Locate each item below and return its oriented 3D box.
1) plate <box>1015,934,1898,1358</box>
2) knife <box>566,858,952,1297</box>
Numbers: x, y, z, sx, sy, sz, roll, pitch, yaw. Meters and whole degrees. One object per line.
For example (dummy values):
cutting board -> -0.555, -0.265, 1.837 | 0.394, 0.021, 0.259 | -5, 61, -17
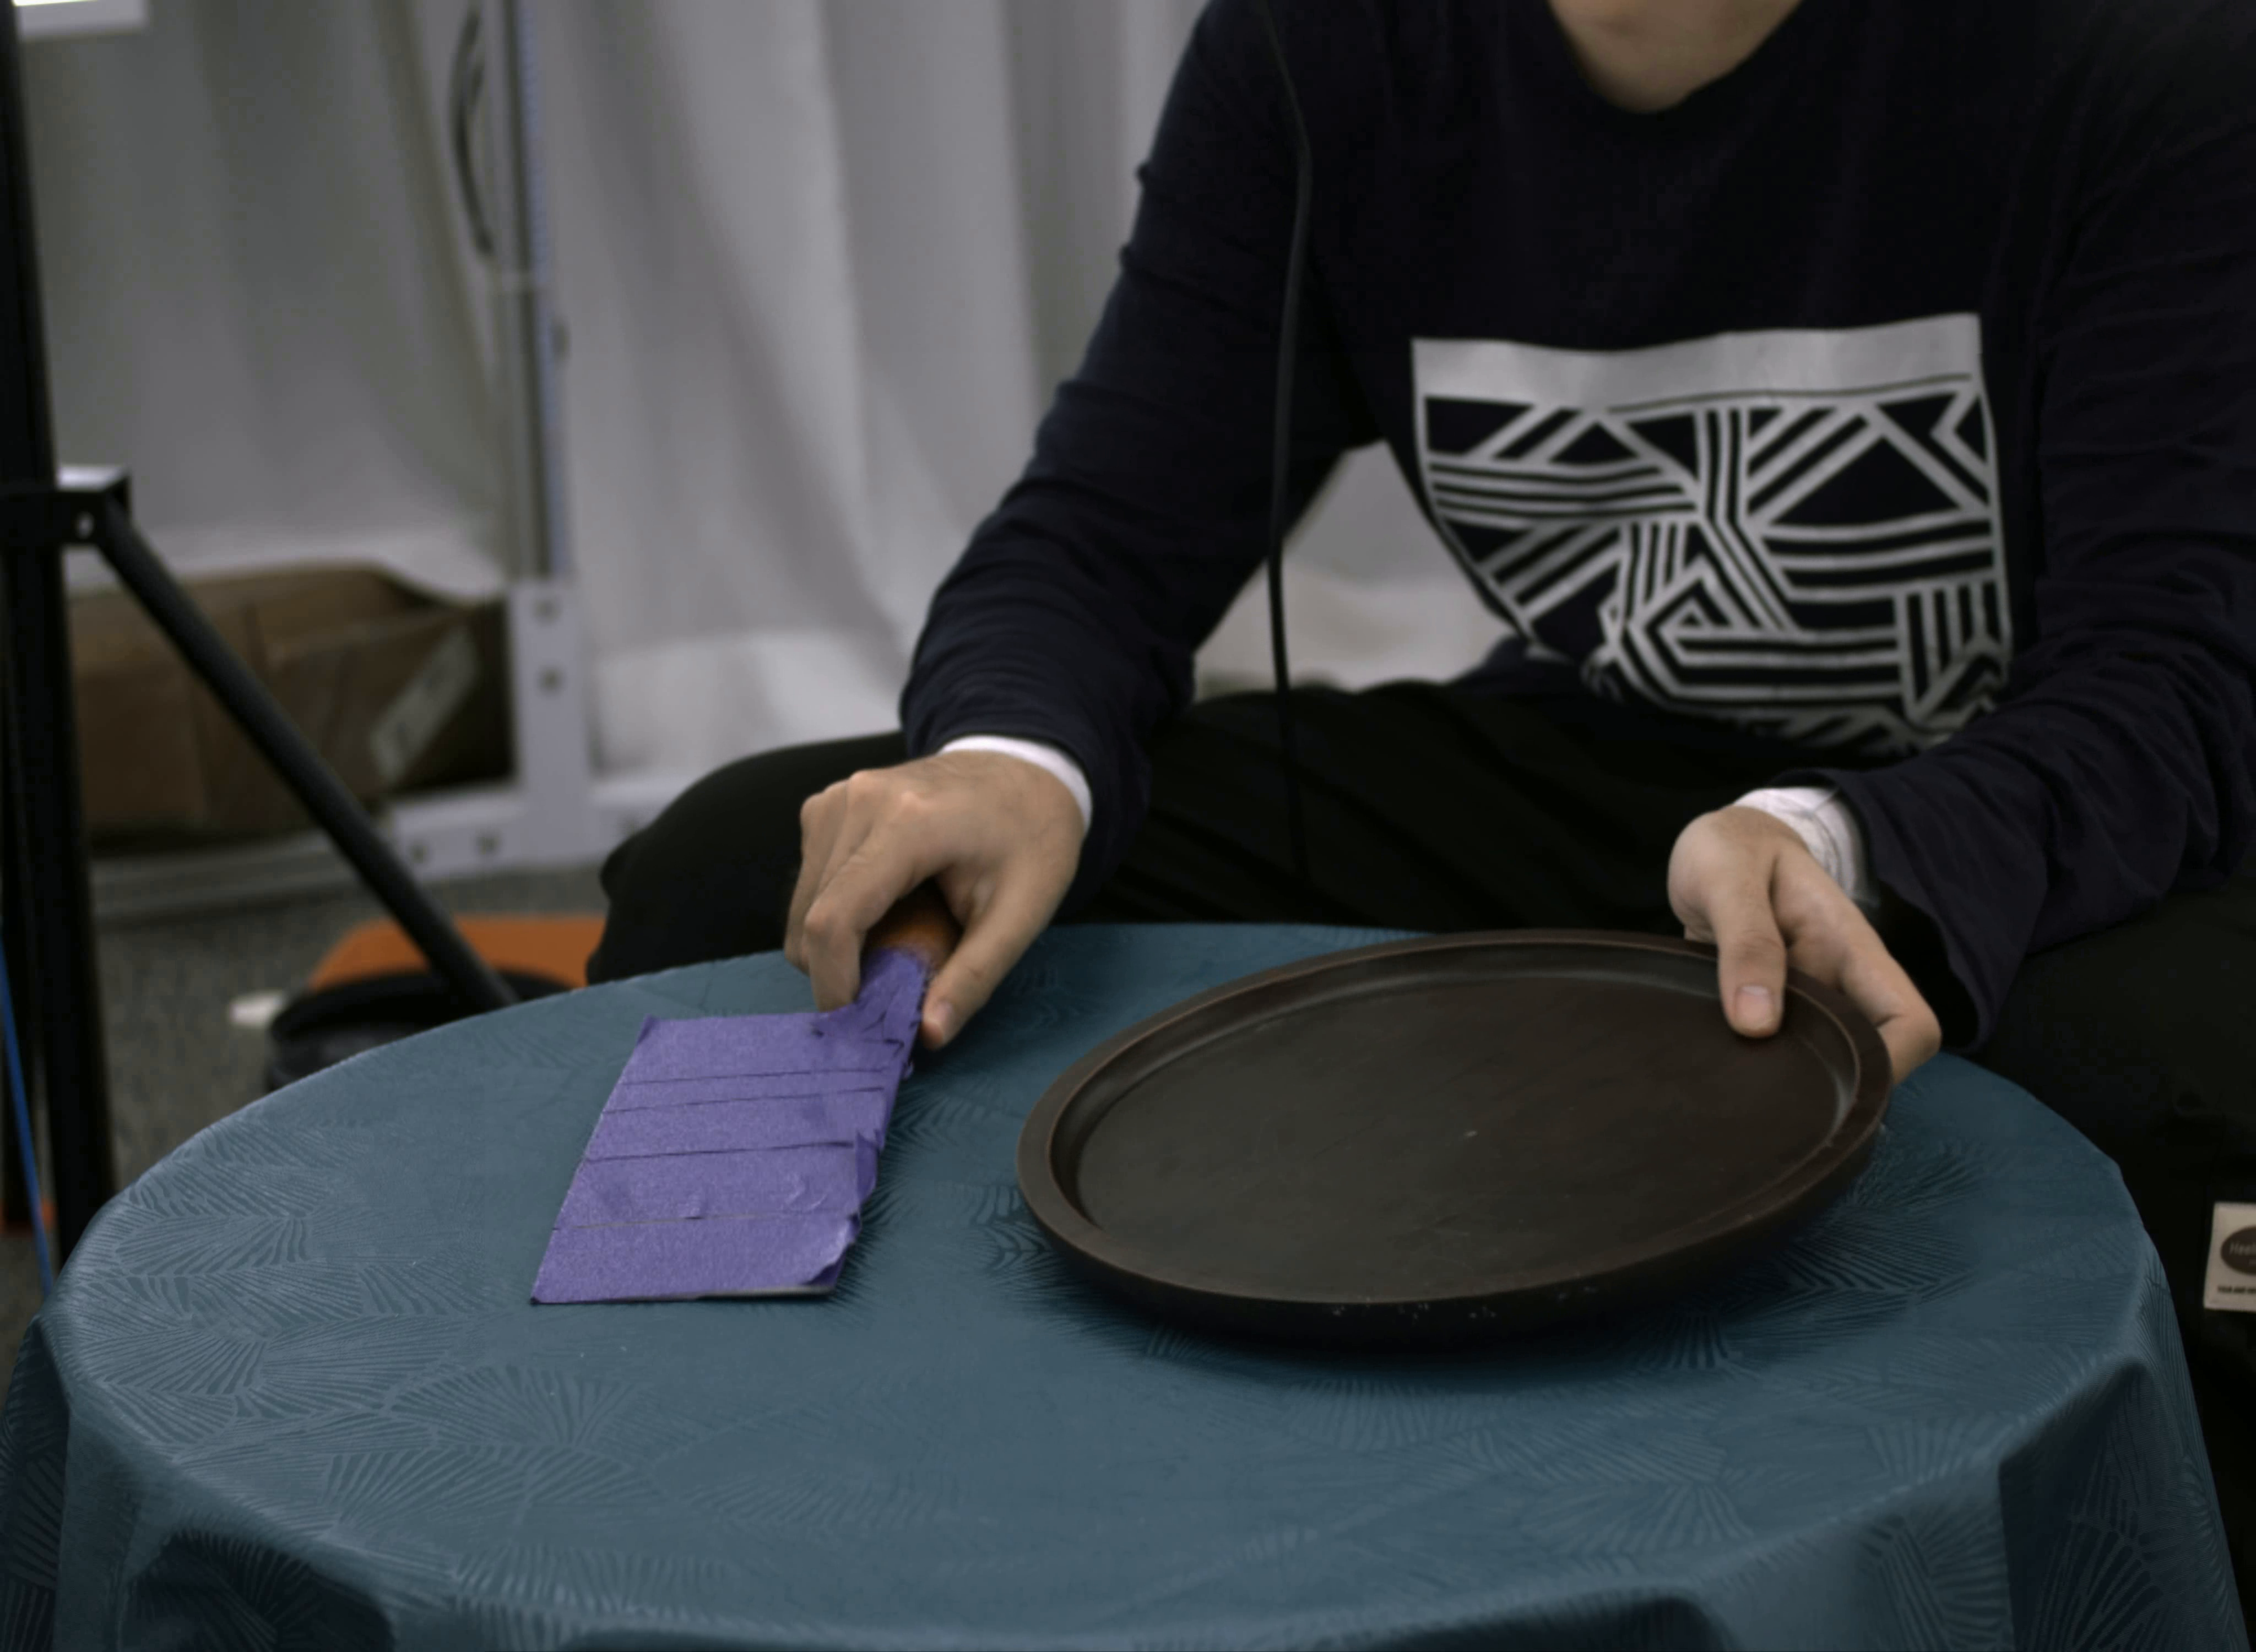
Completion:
plate -> 0.094, 0.088, 1.518 | 0.254, 0.029, 0.256 | -8, 22, 2
knife -> -0.111, 0.073, 1.632 | 0.104, 0.032, 0.315 | -4, 17, 6
